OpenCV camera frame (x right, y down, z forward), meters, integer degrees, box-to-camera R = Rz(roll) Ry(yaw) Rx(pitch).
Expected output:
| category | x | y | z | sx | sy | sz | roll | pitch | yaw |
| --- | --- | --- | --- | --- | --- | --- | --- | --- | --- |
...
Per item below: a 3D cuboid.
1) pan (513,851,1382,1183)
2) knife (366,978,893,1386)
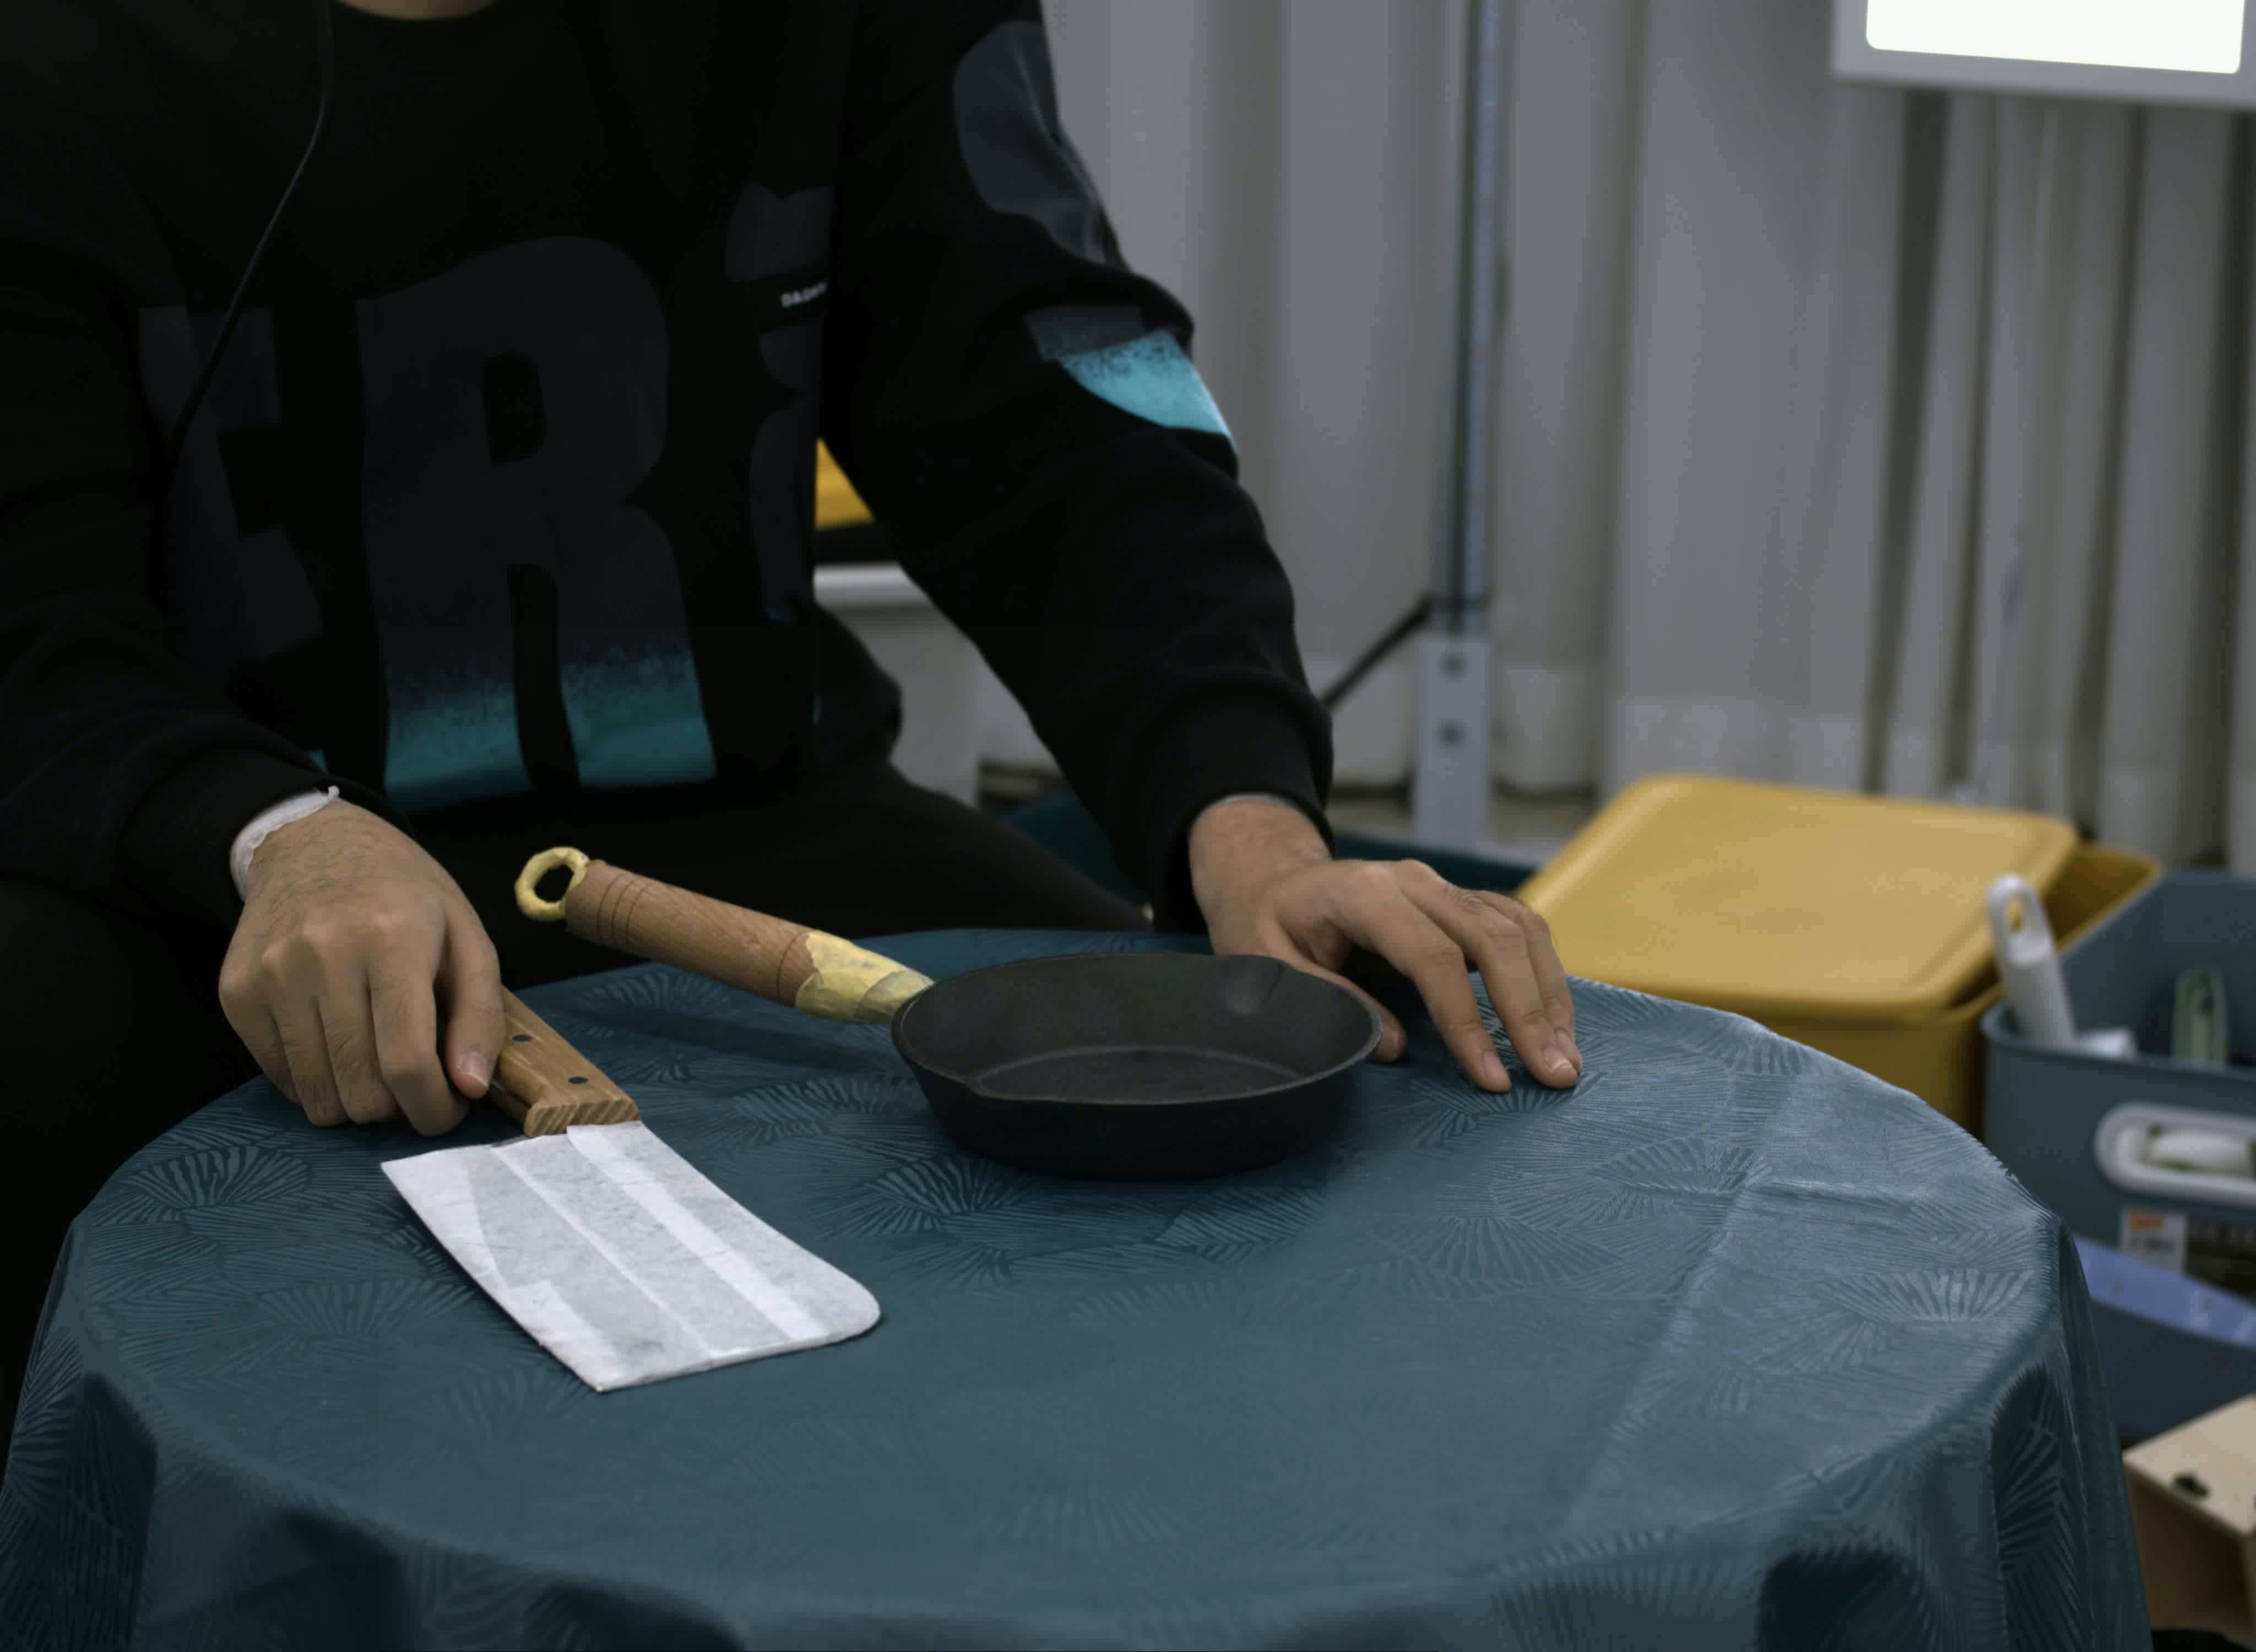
| category | x | y | z | sx | sy | sz | roll | pitch | yaw |
| --- | --- | --- | --- | --- | --- | --- | --- | --- | --- |
| pan | -0.068 | 0.058 | 1.723 | 0.320 | 0.050 | 0.169 | 11 | 19 | 30 |
| knife | -0.169 | 0.106 | 1.608 | 0.114 | 0.022 | 0.311 | -7 | 20 | -23 |
